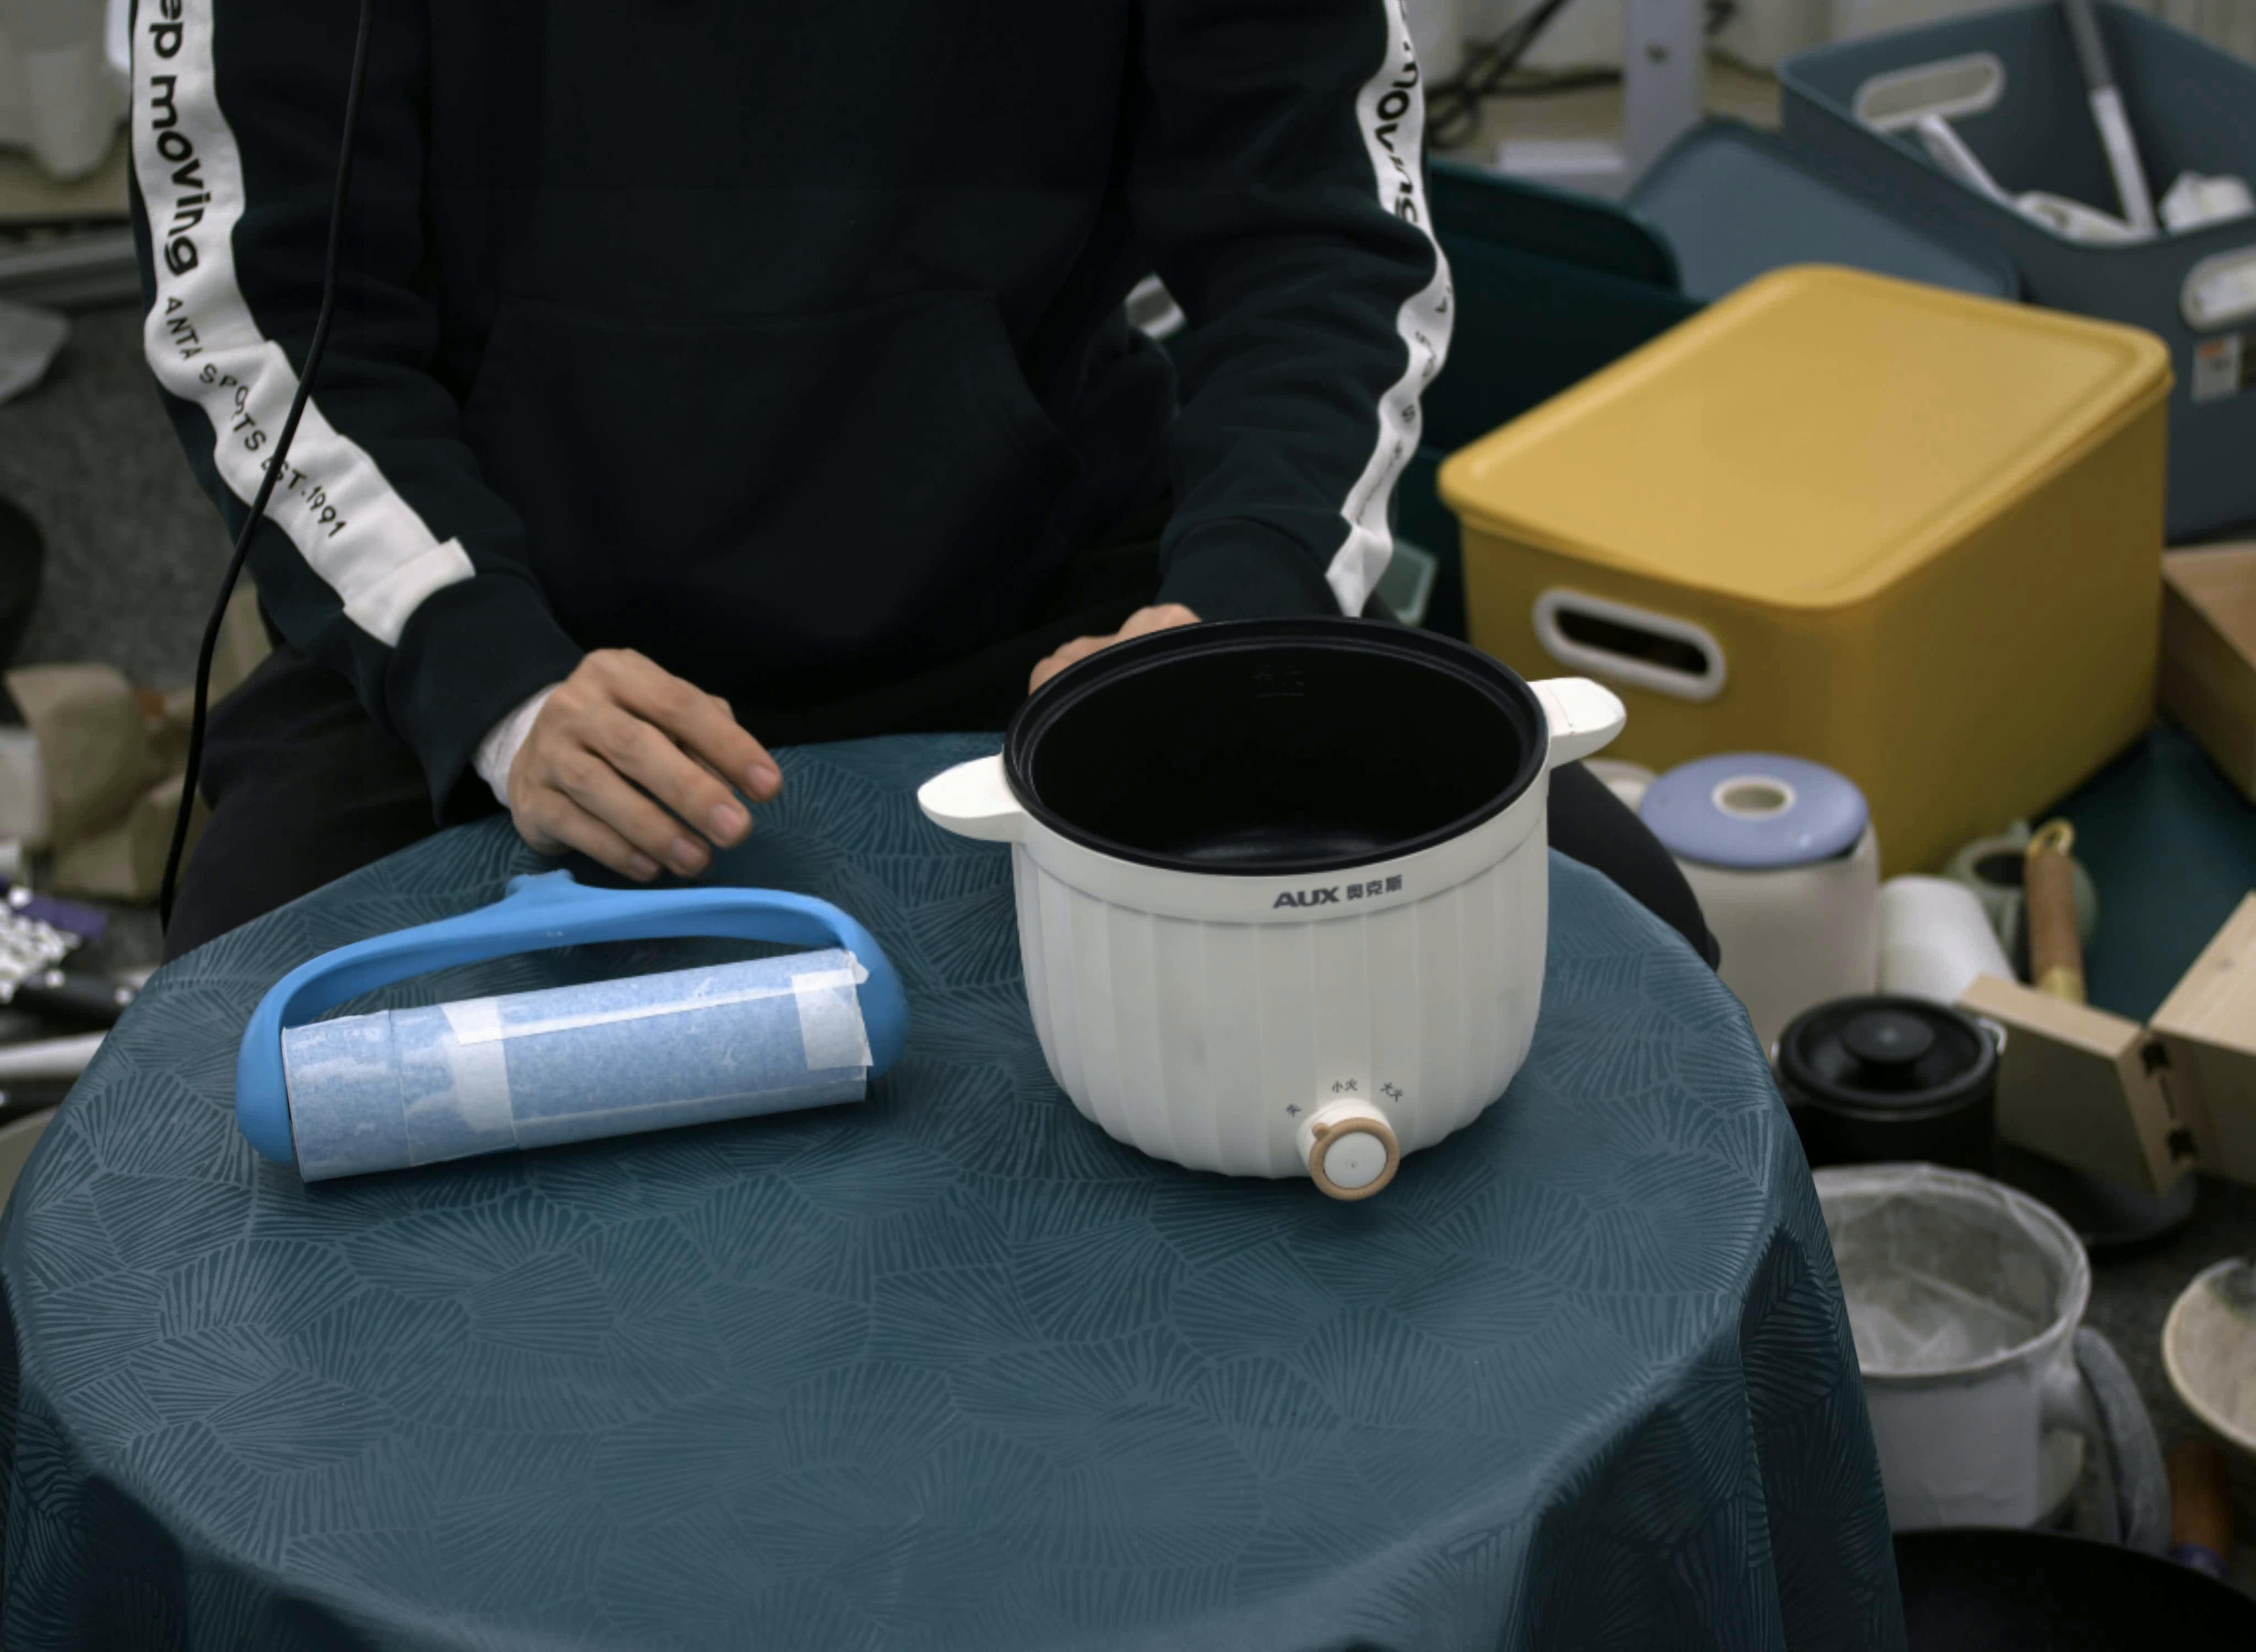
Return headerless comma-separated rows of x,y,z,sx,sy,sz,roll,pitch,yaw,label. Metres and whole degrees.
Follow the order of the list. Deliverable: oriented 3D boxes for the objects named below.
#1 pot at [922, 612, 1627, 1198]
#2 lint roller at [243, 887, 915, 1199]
0.055,0.030,1.882,0.240,0.141,0.192,-9,25,-10,pot
-0.200,0.056,1.947,0.229,0.067,0.182,-11,29,-12,lint roller
